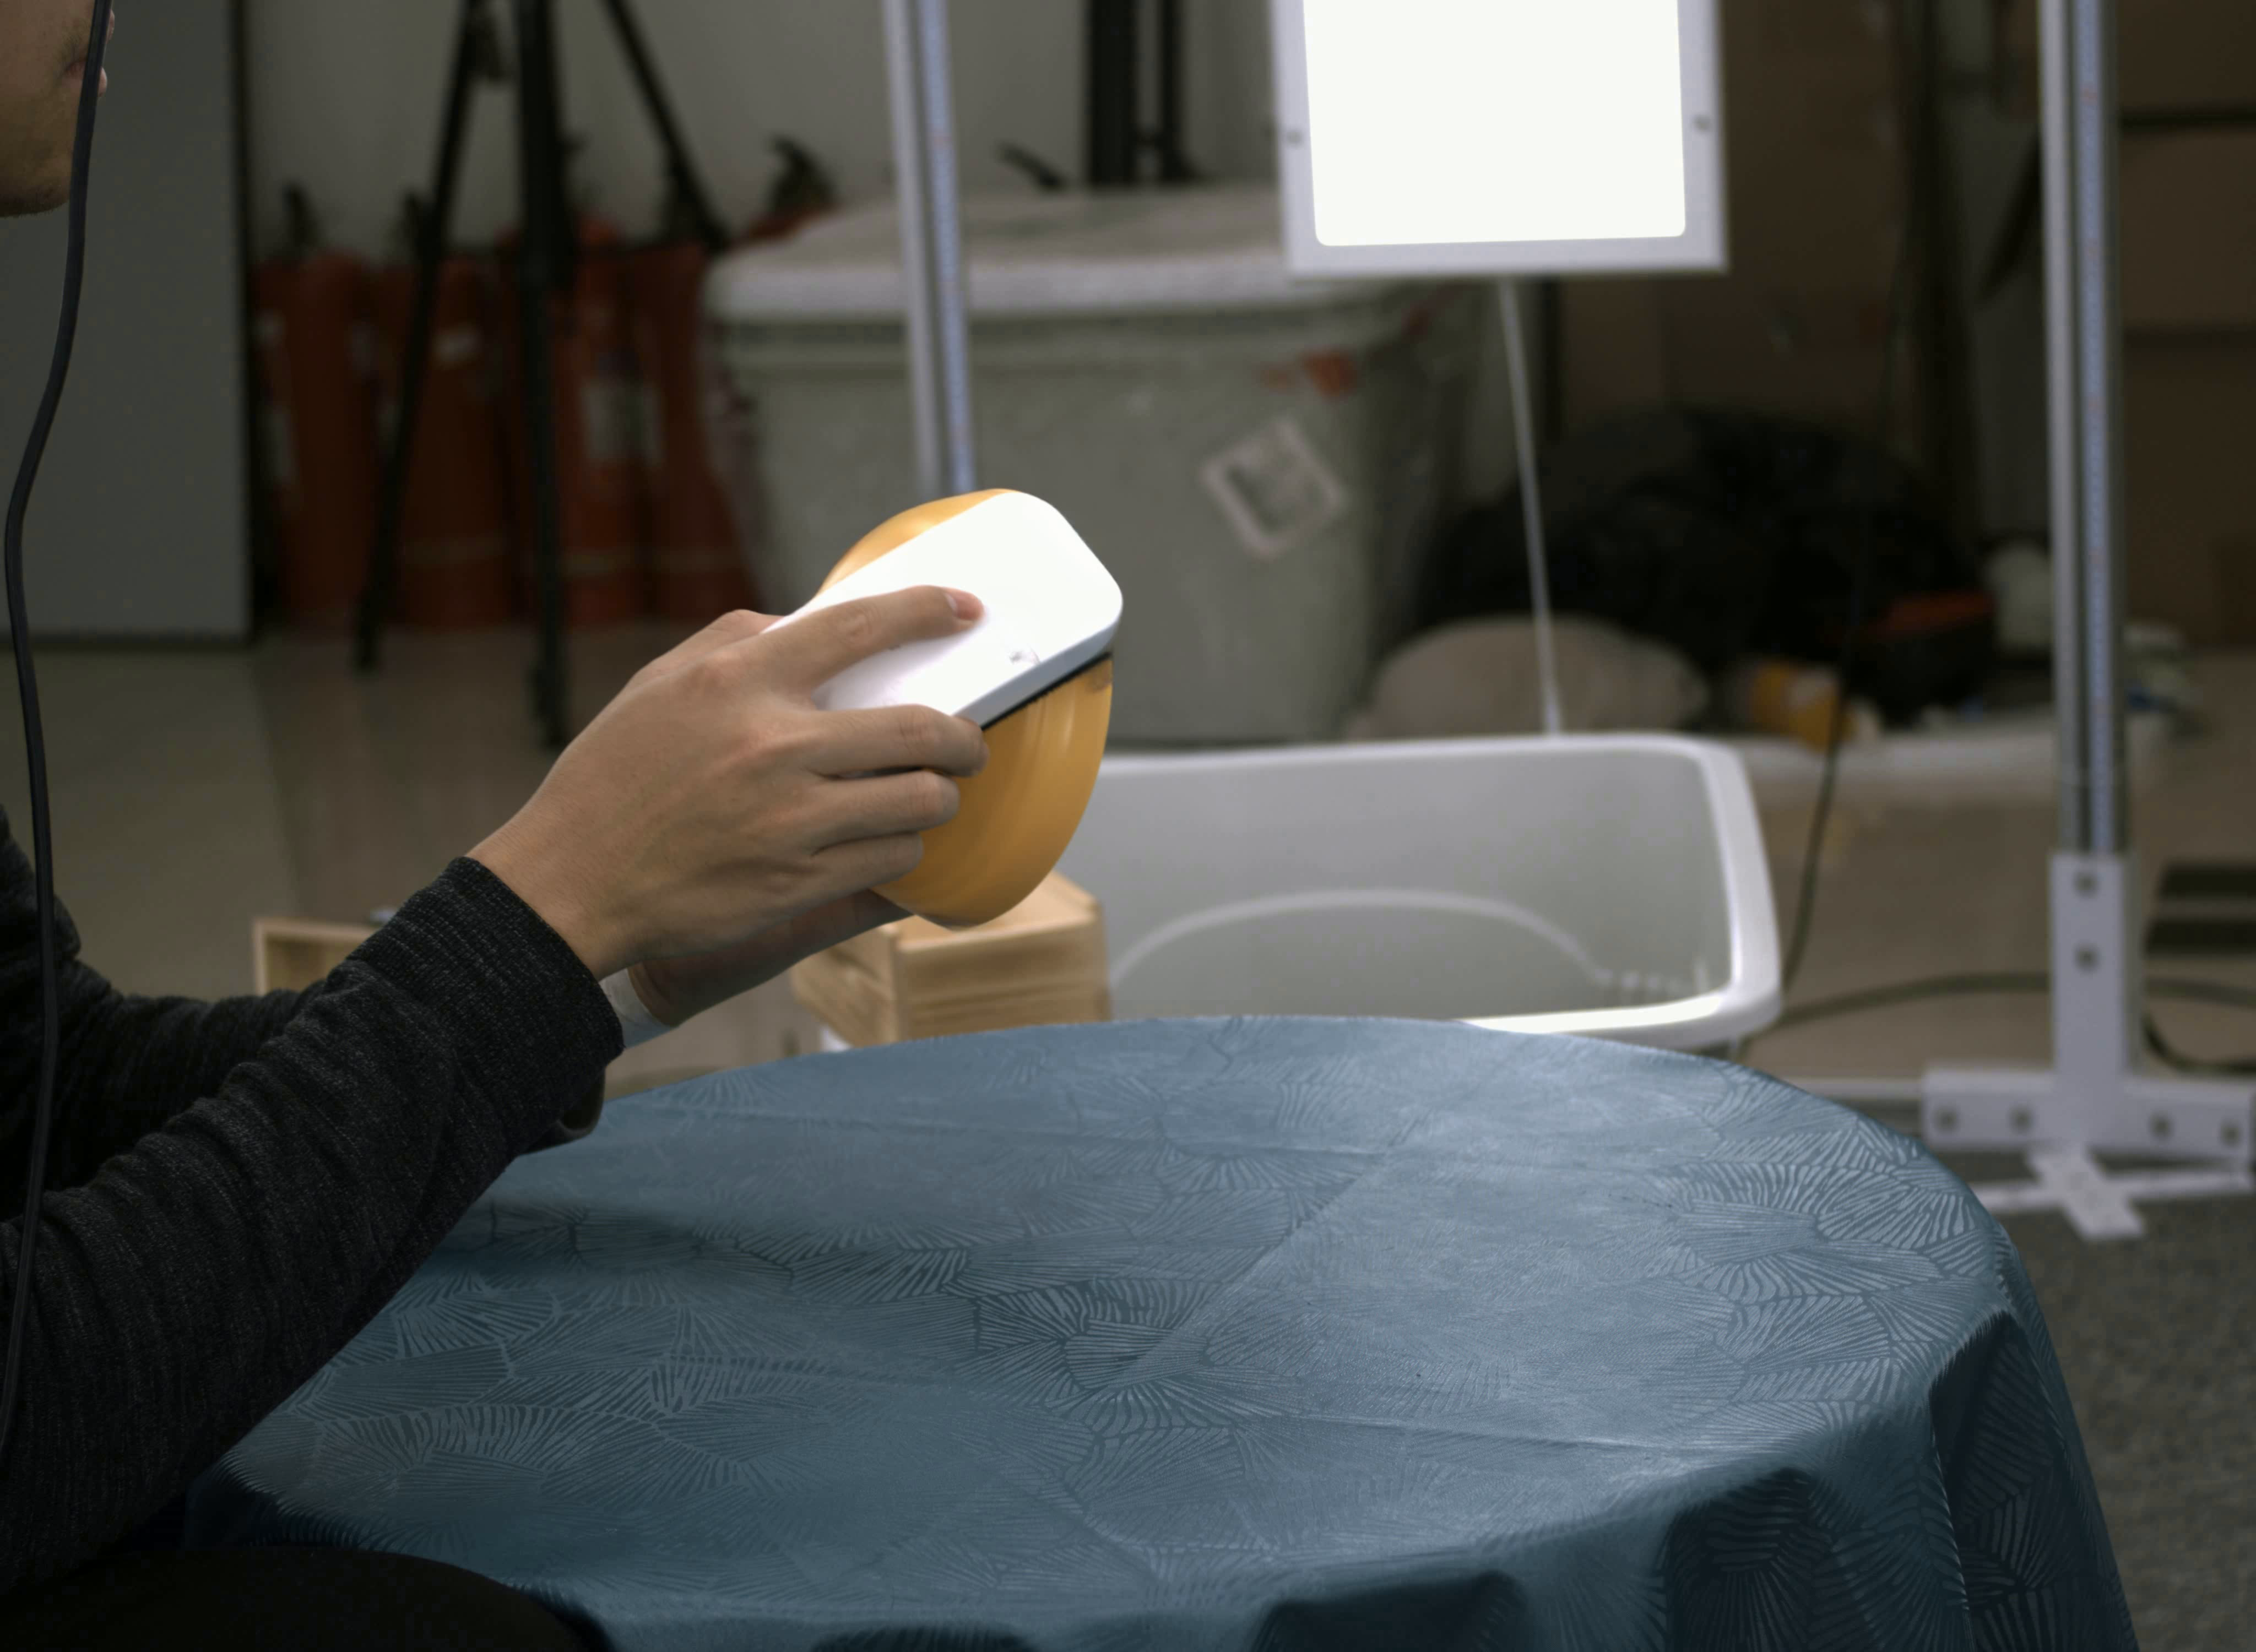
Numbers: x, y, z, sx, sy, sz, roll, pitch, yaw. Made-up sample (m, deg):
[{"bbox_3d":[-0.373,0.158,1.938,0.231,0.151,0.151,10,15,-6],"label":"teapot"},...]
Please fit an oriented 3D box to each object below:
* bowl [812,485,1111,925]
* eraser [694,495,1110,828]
[{"bbox_3d":[-0.071,-0.043,1.787,0.058,0.146,0.148,7,5,-36],"label":"bowl"},{"bbox_3d":[-0.071,-0.054,1.718,0.129,0.034,0.064,-31,61,-15],"label":"eraser"}]
